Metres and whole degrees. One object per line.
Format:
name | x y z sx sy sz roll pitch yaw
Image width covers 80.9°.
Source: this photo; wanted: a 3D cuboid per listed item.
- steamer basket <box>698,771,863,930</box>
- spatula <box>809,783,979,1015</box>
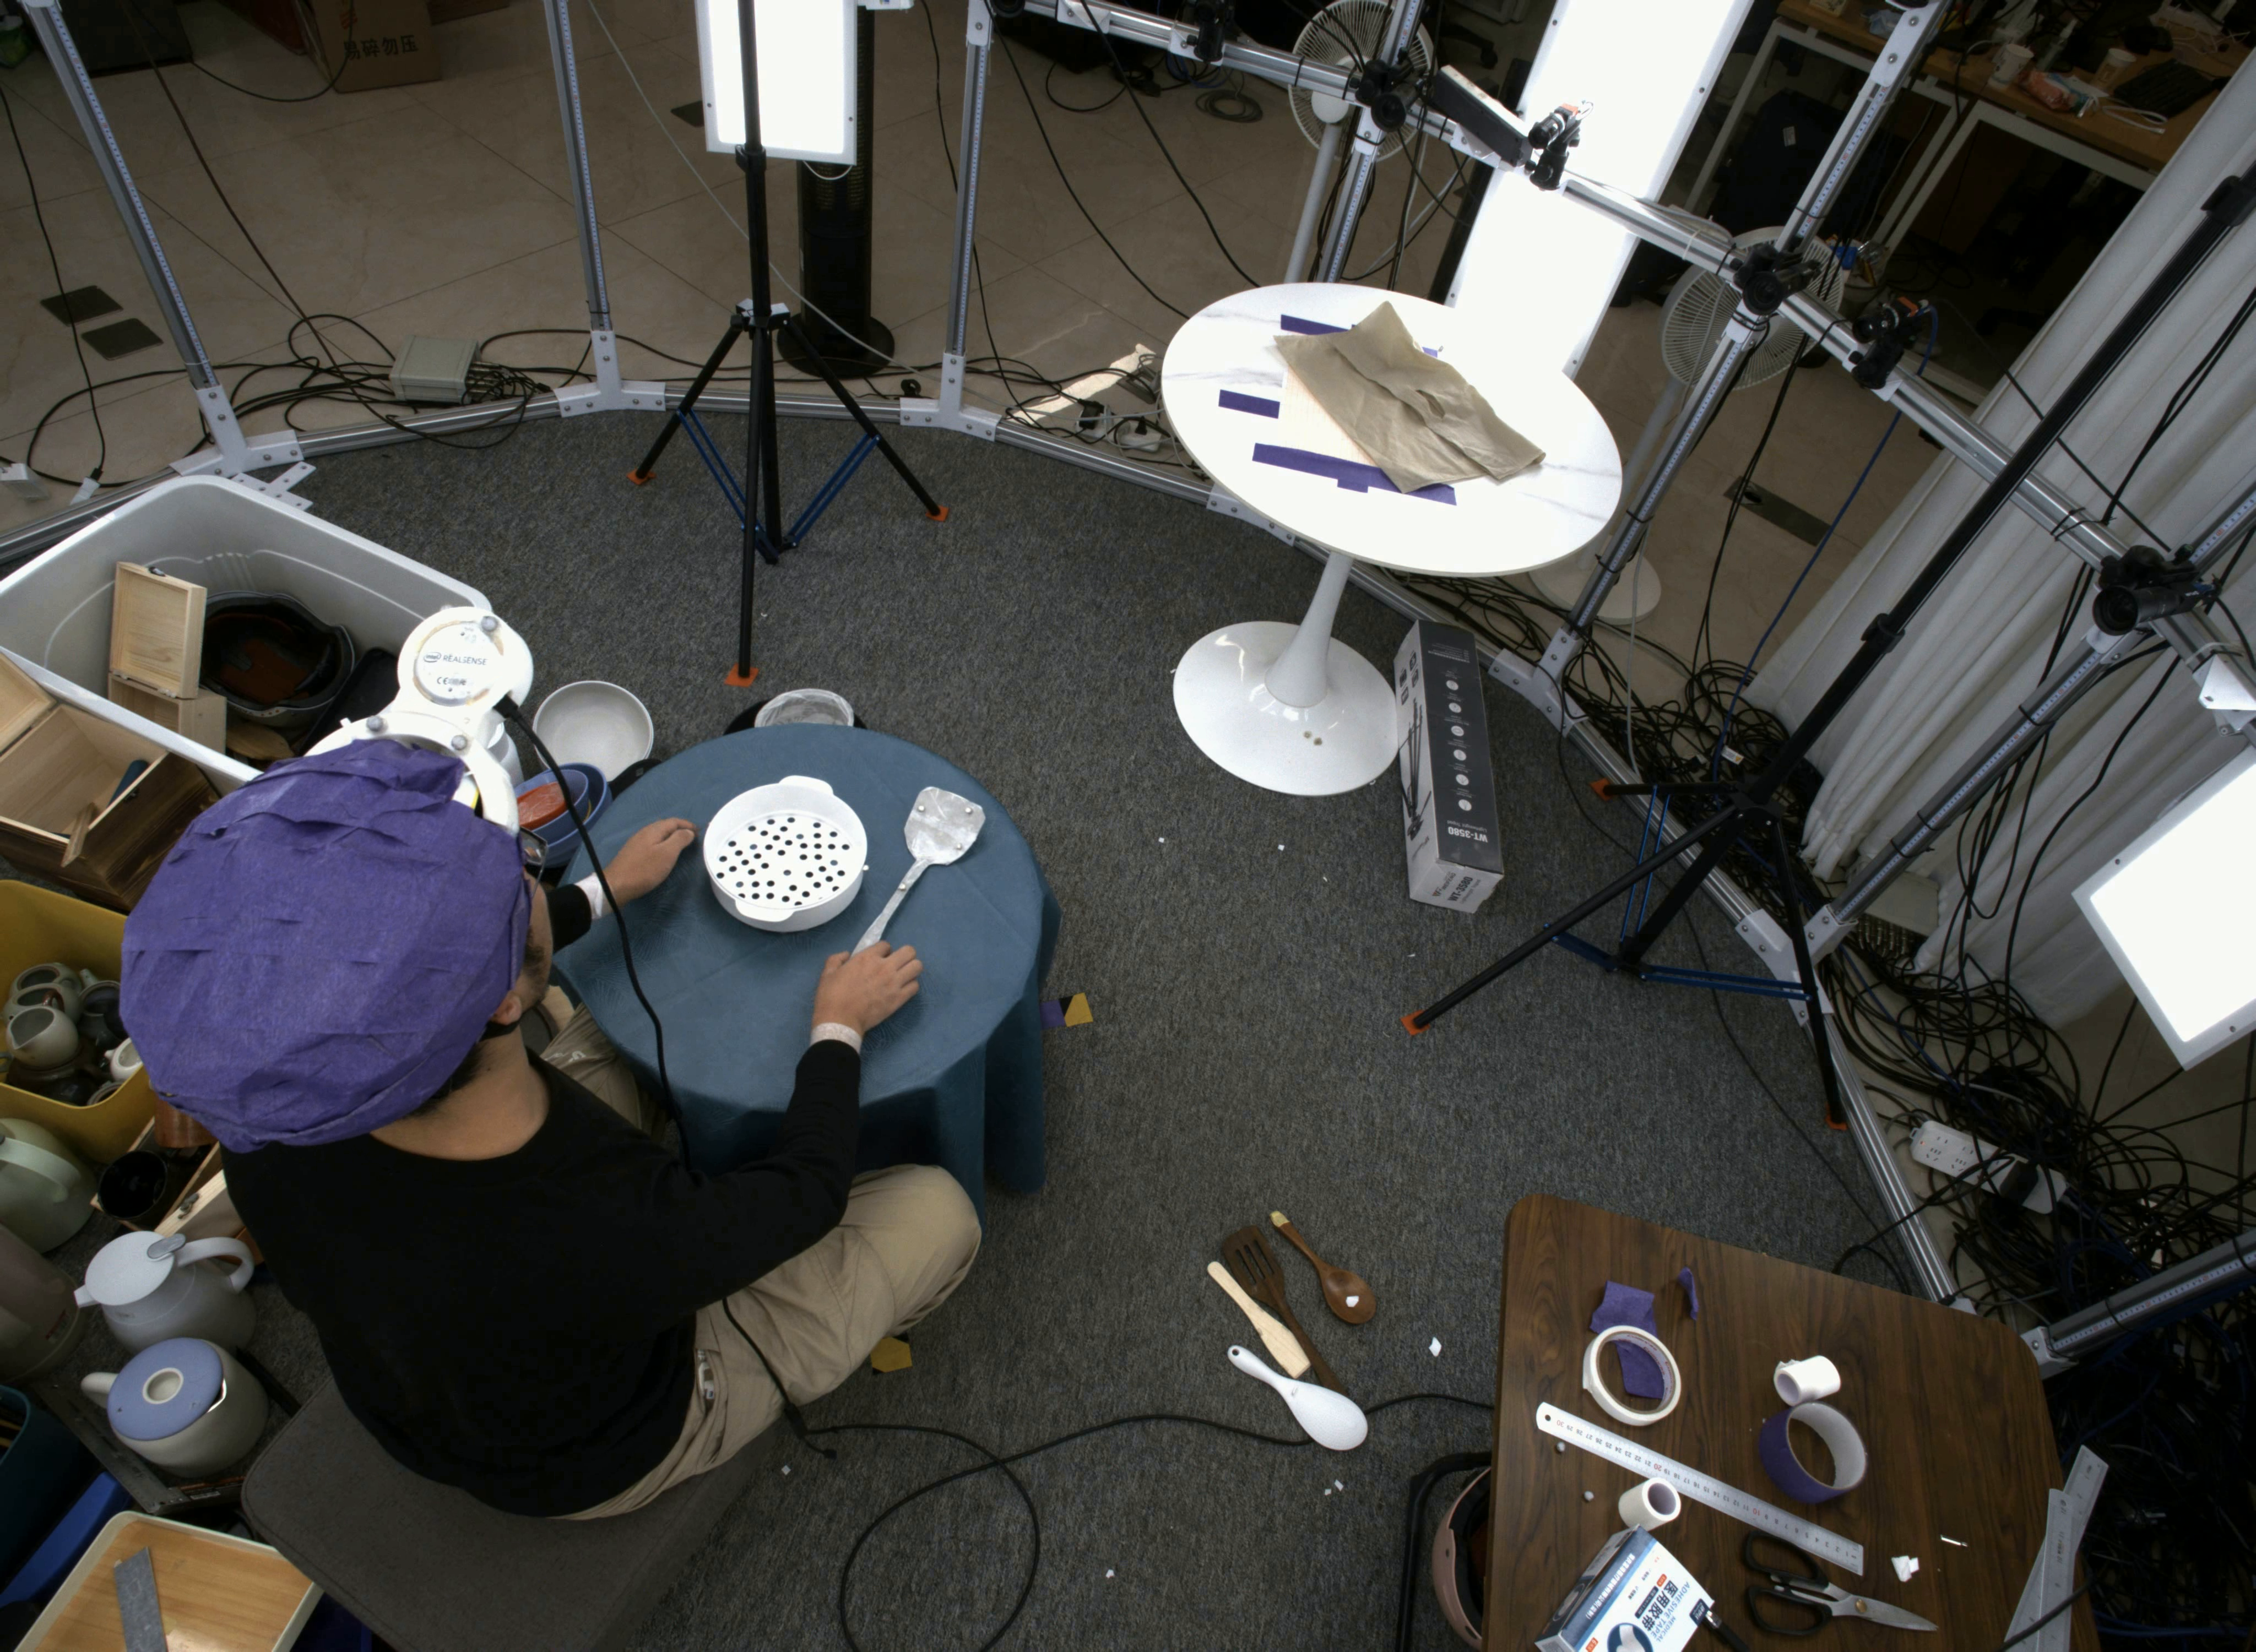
steamer basket | -0.438 0.036 1.643 0.201 0.070 0.227 12 52 -5
spatula | -0.306 0.091 1.658 0.098 0.045 0.362 25 52 2
